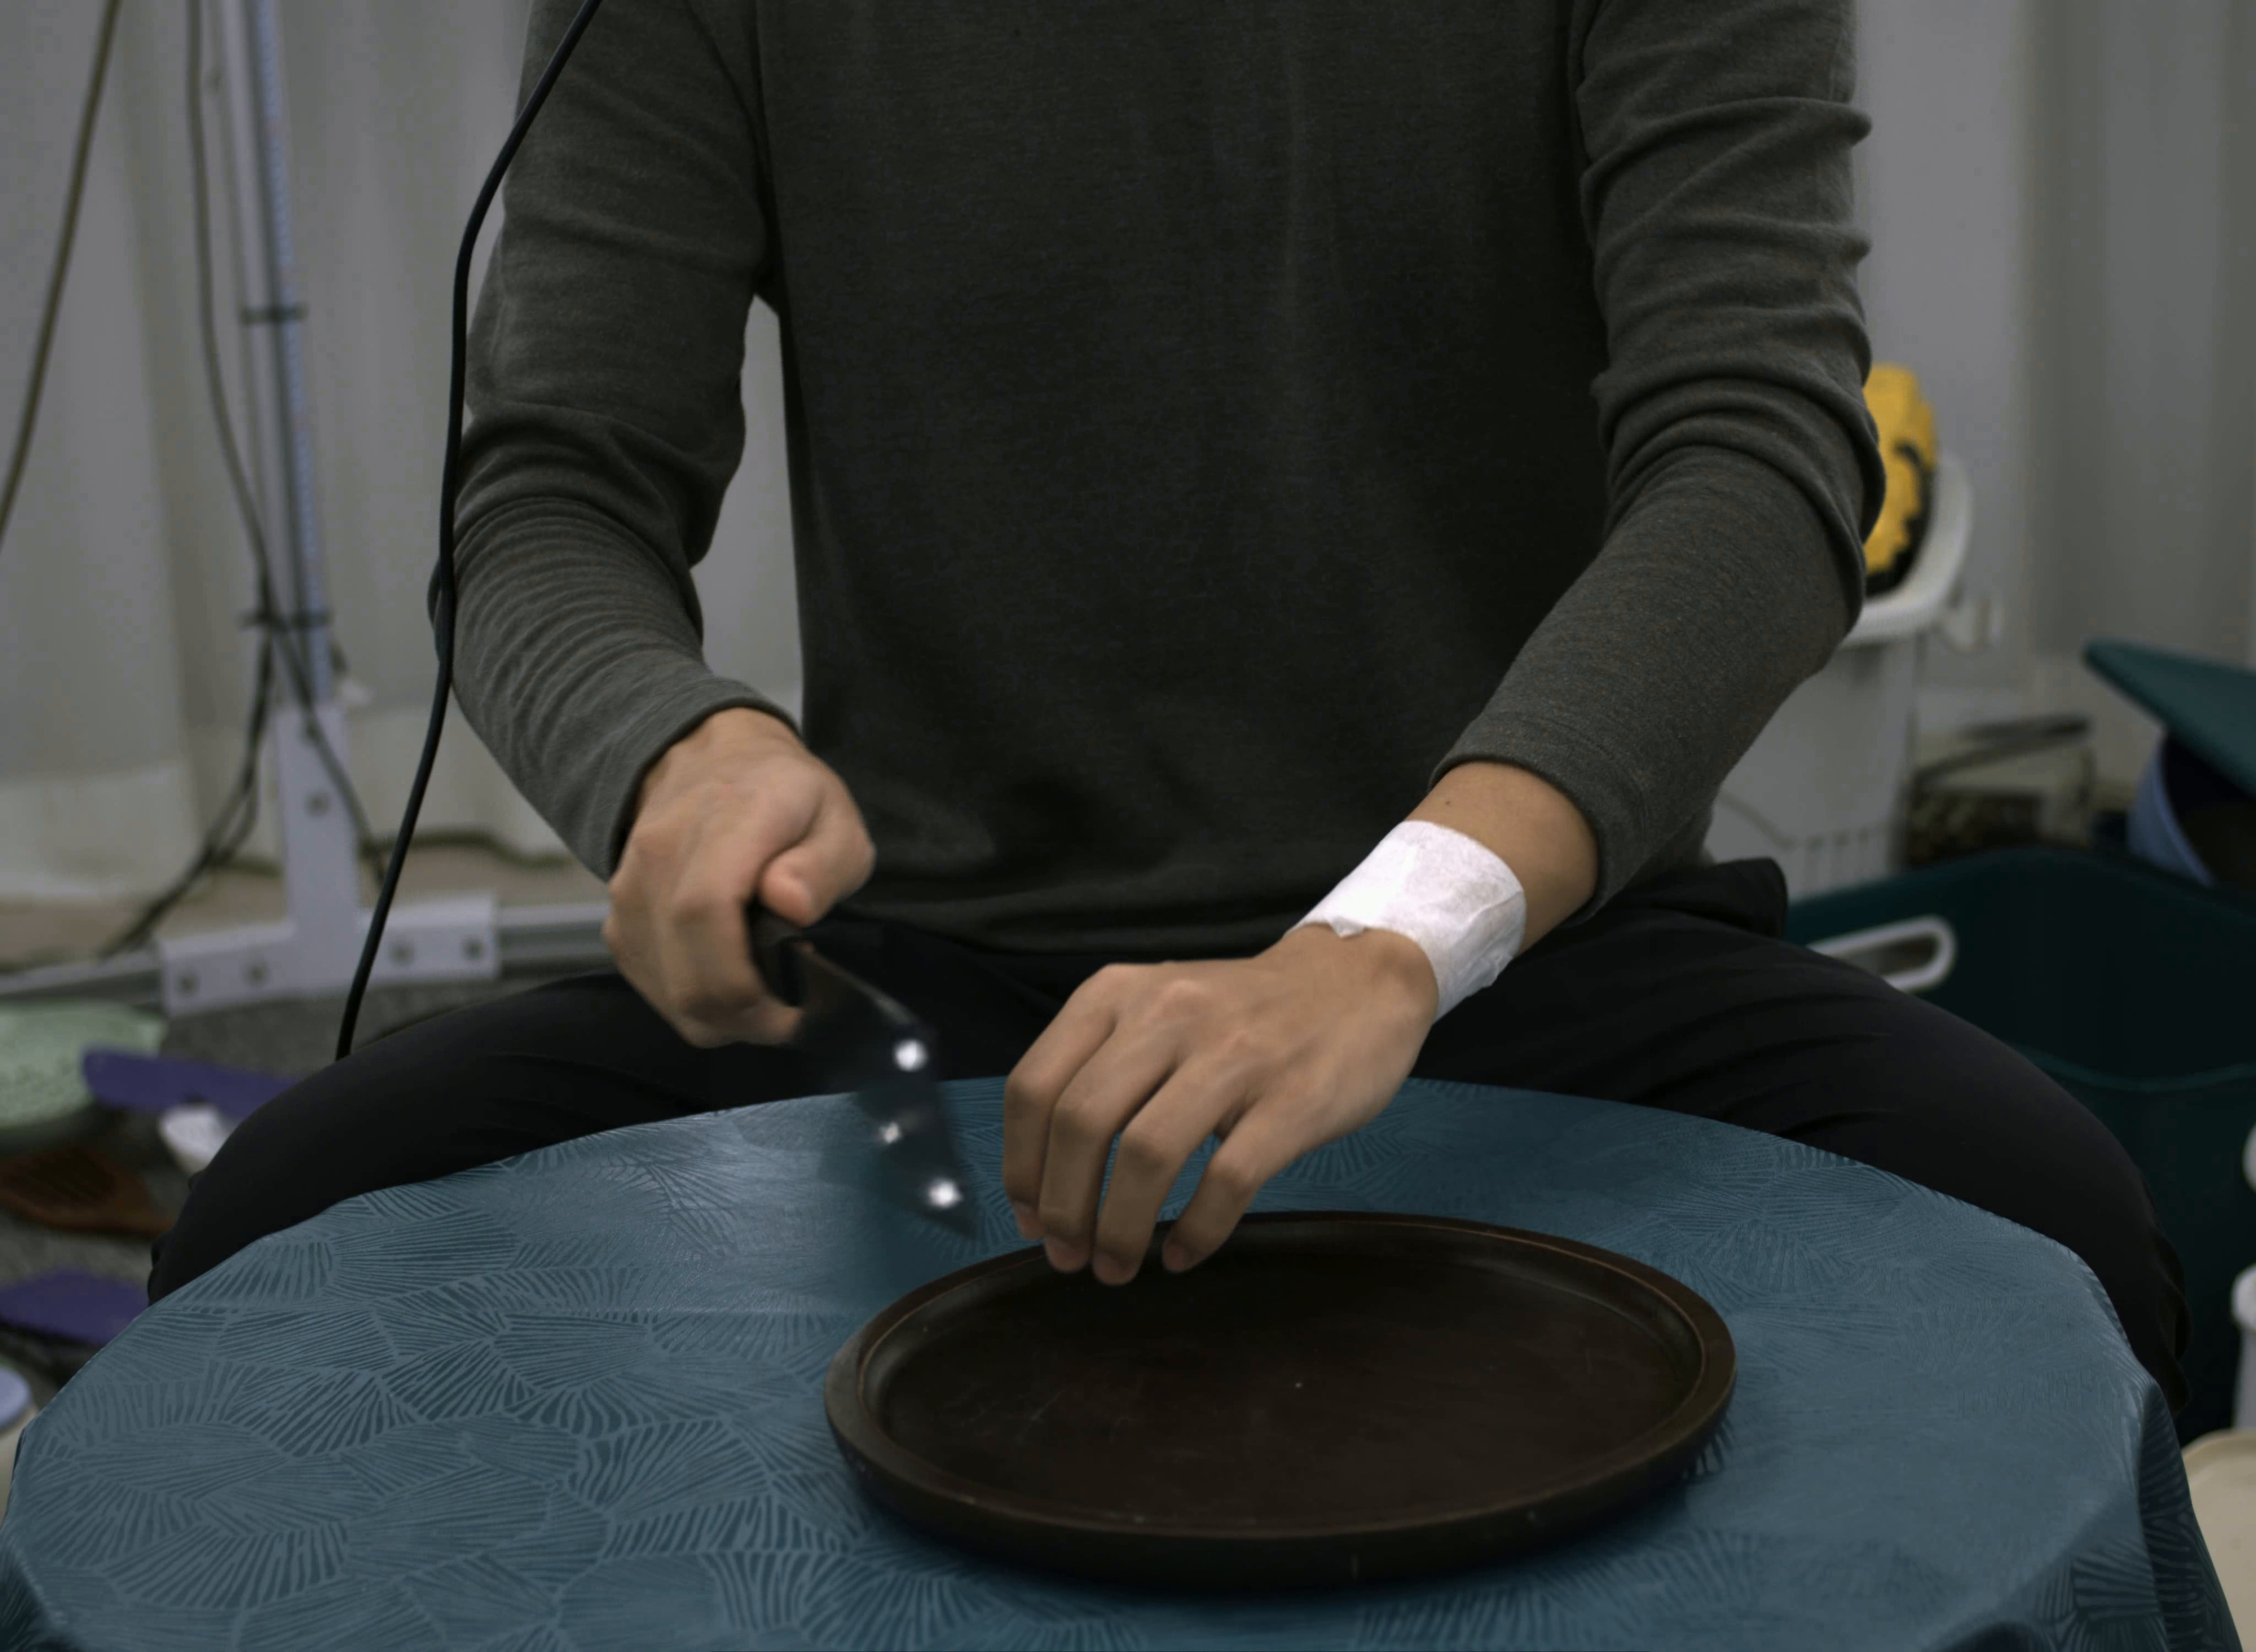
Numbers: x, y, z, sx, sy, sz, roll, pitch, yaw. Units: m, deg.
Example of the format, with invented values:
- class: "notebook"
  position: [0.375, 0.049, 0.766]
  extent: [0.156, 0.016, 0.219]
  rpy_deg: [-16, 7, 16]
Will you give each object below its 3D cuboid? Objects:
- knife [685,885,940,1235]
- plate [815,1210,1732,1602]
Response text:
- class: "knife"
  position: [-0.089, 0.060, 1.542]
  extent: [0.021, 0.080, 0.304]
  rpy_deg: [-15, 13, -12]
- class: "plate"
  position: [0.040, 0.157, 1.507]
  extent: [0.254, 0.029, 0.256]
  rpy_deg: [-4, 15, 1]
